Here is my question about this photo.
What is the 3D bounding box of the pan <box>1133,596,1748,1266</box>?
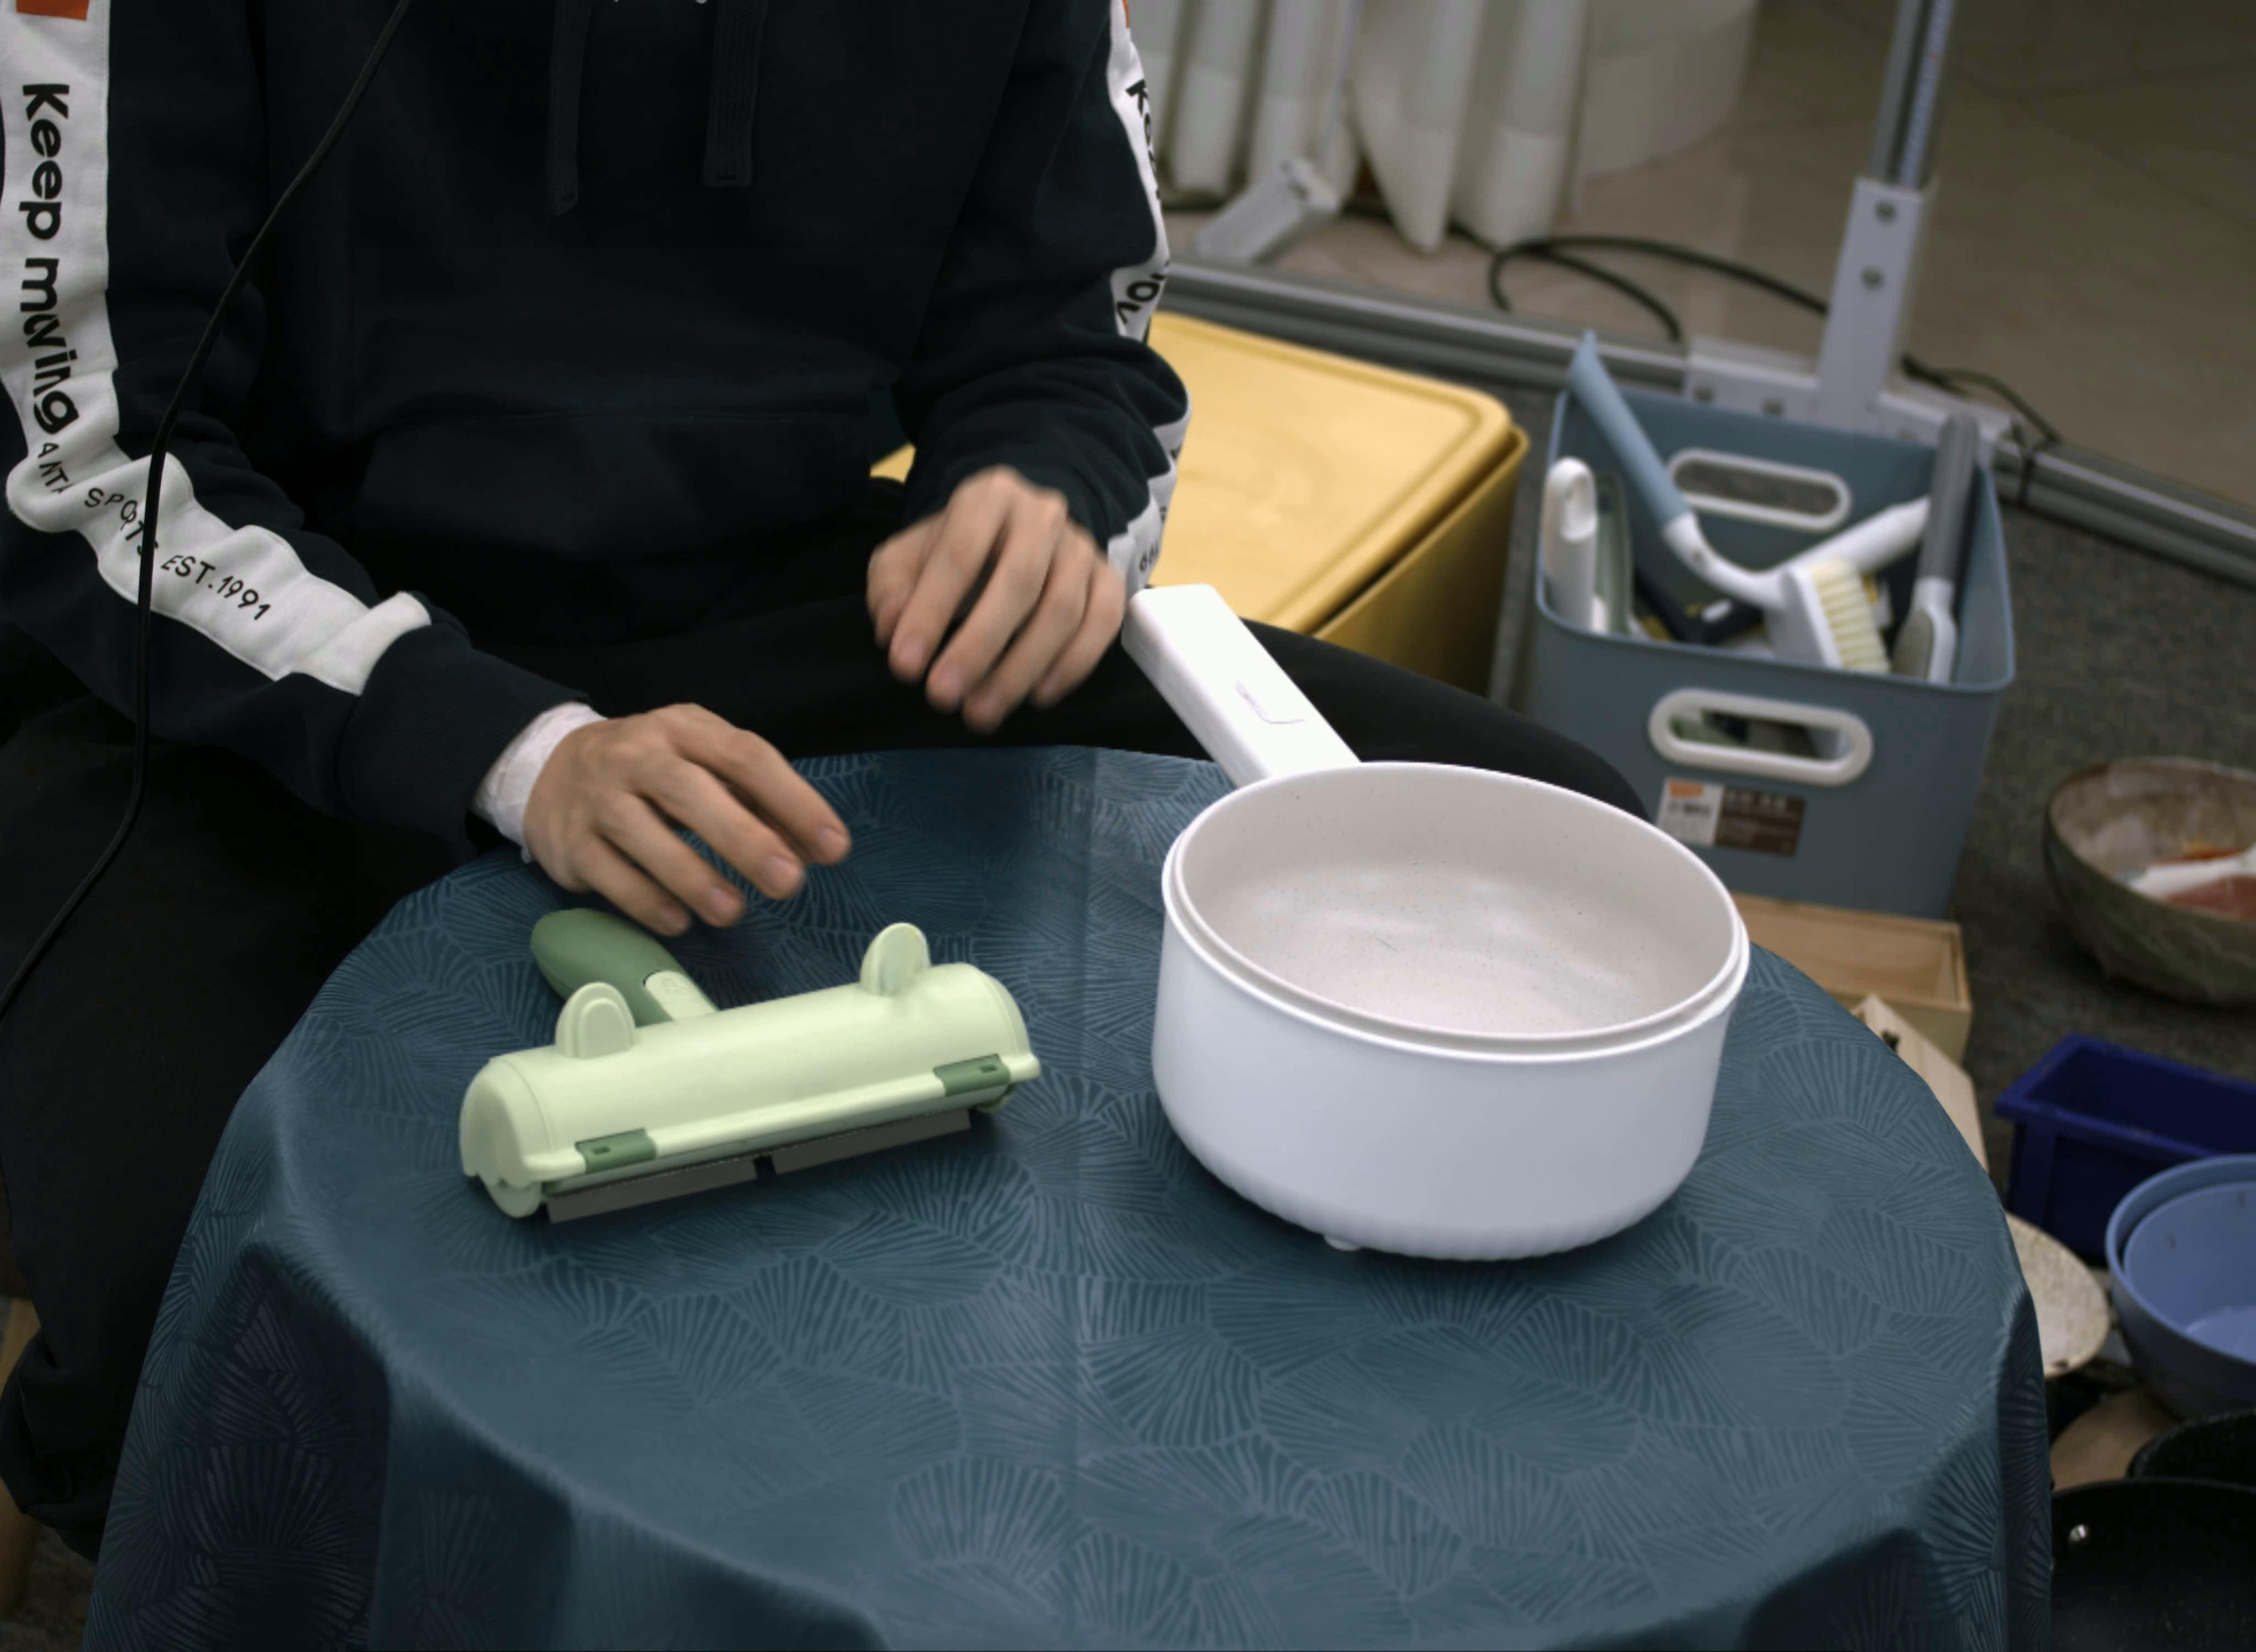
[{"bbox_3d":[0.079,0.035,1.886,0.200,0.102,0.358,-6,29,-21],"label":"pan"}]

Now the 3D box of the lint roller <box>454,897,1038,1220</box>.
[{"bbox_3d":[-0.155,0.053,1.818,0.197,0.082,0.185,-11,37,-30],"label":"lint roller"}]
